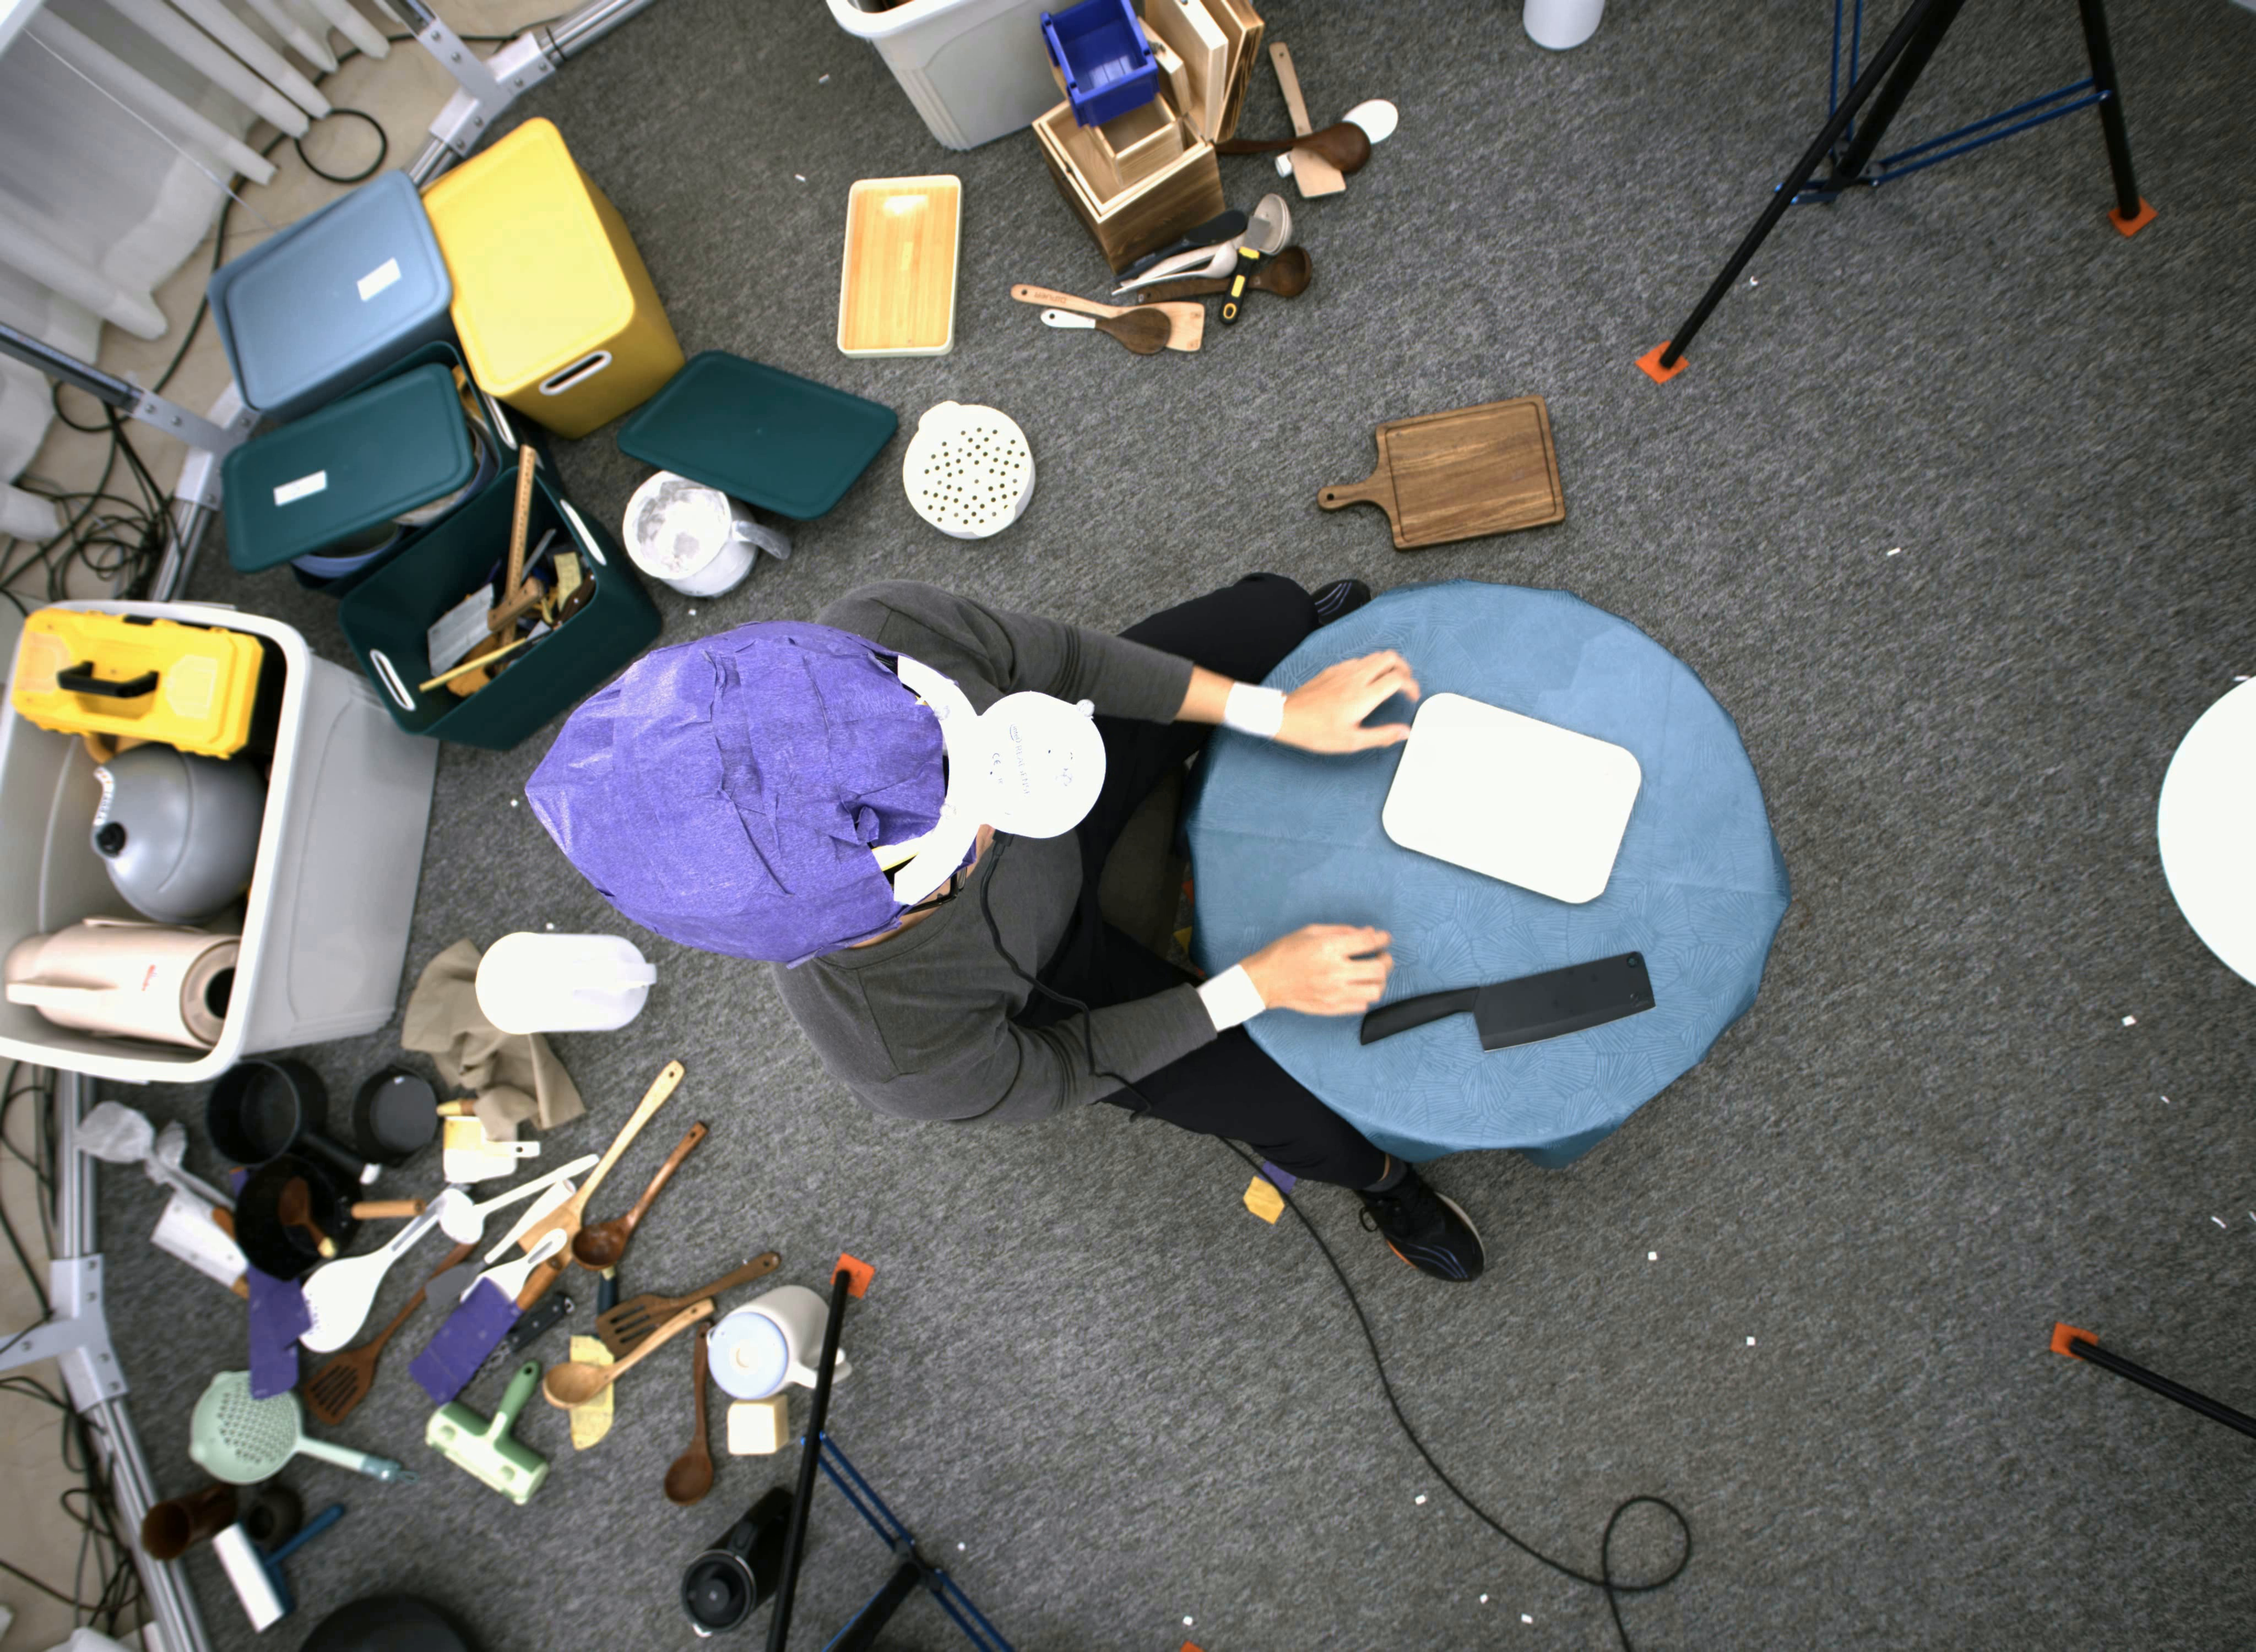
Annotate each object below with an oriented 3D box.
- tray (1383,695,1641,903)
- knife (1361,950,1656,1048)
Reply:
[{"bbox_3d":[0.399,-0.032,1.432,0.240,0.017,0.171,19,90,11],"label":"tray"},{"bbox_3d":[0.390,0.187,1.424,0.304,0.021,0.080,-10,86,8],"label":"knife"}]
